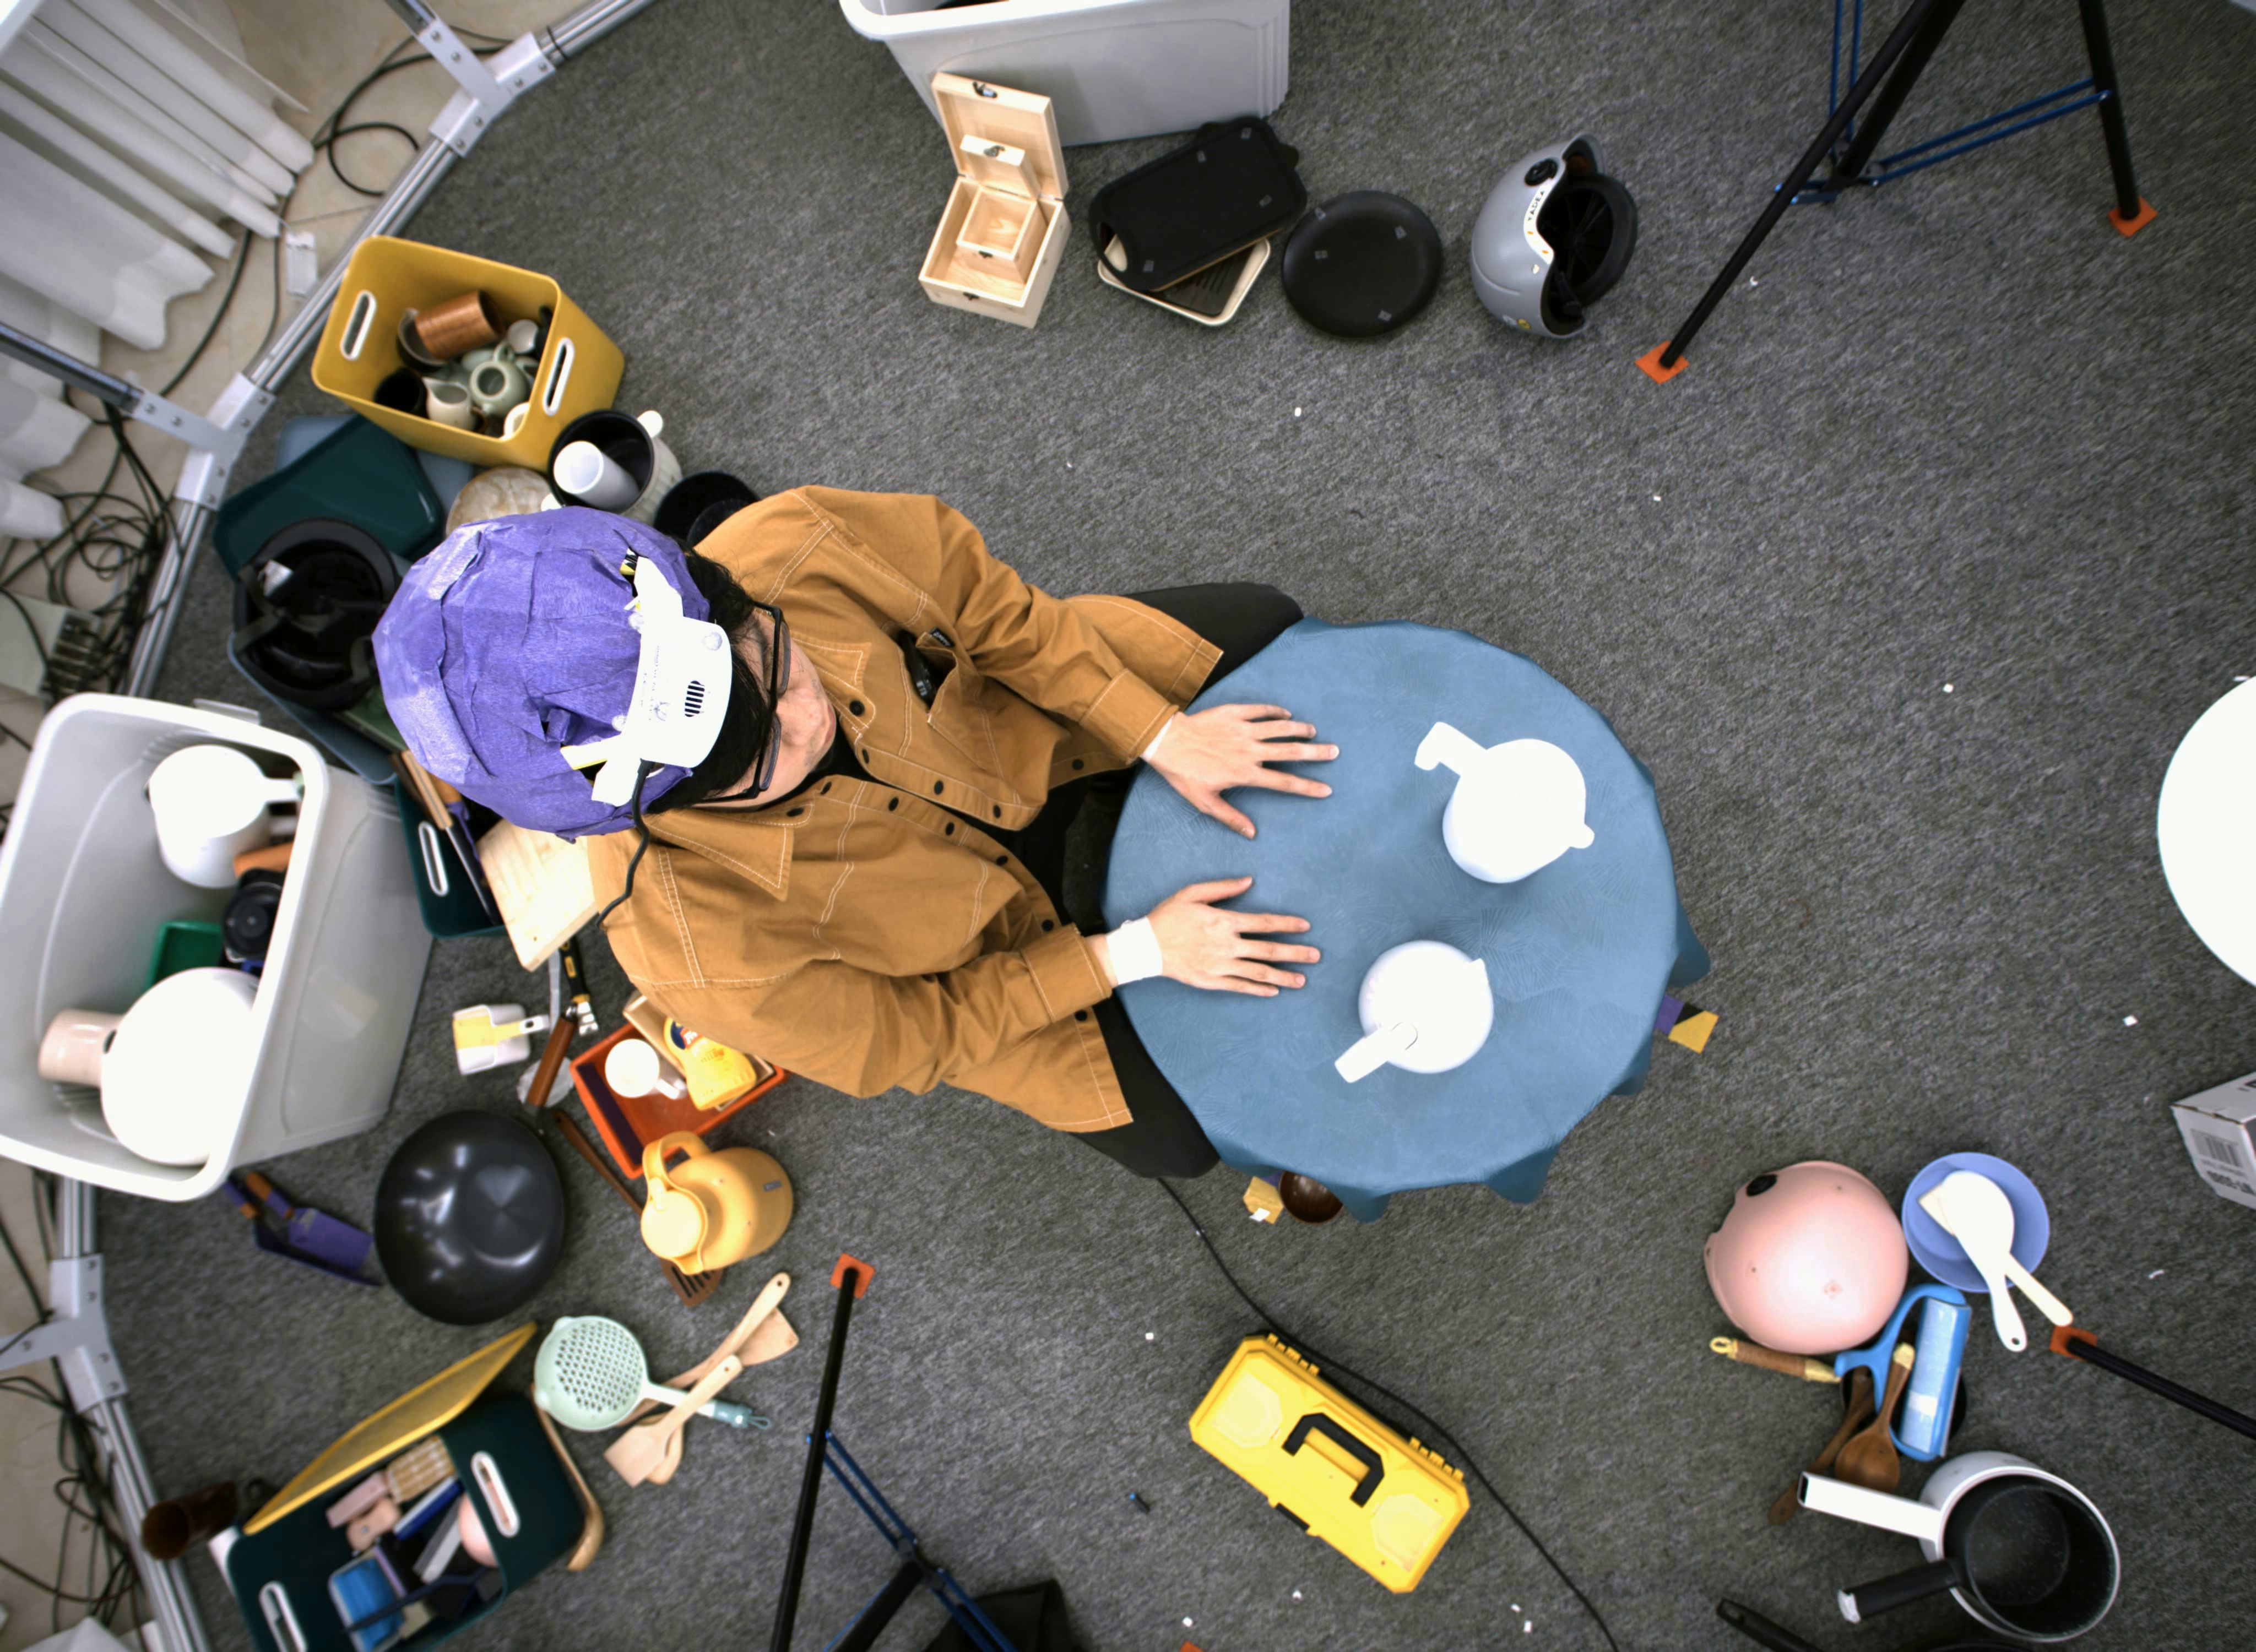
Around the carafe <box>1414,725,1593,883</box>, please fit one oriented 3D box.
[{"bbox_3d":[0.351,-0.022,1.315,0.172,0.268,0.124,36,94,11],"label":"carafe"}]

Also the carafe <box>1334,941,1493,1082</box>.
[{"bbox_3d":[0.272,0.186,1.329,0.168,0.249,0.132,-39,79,6],"label":"carafe"}]
